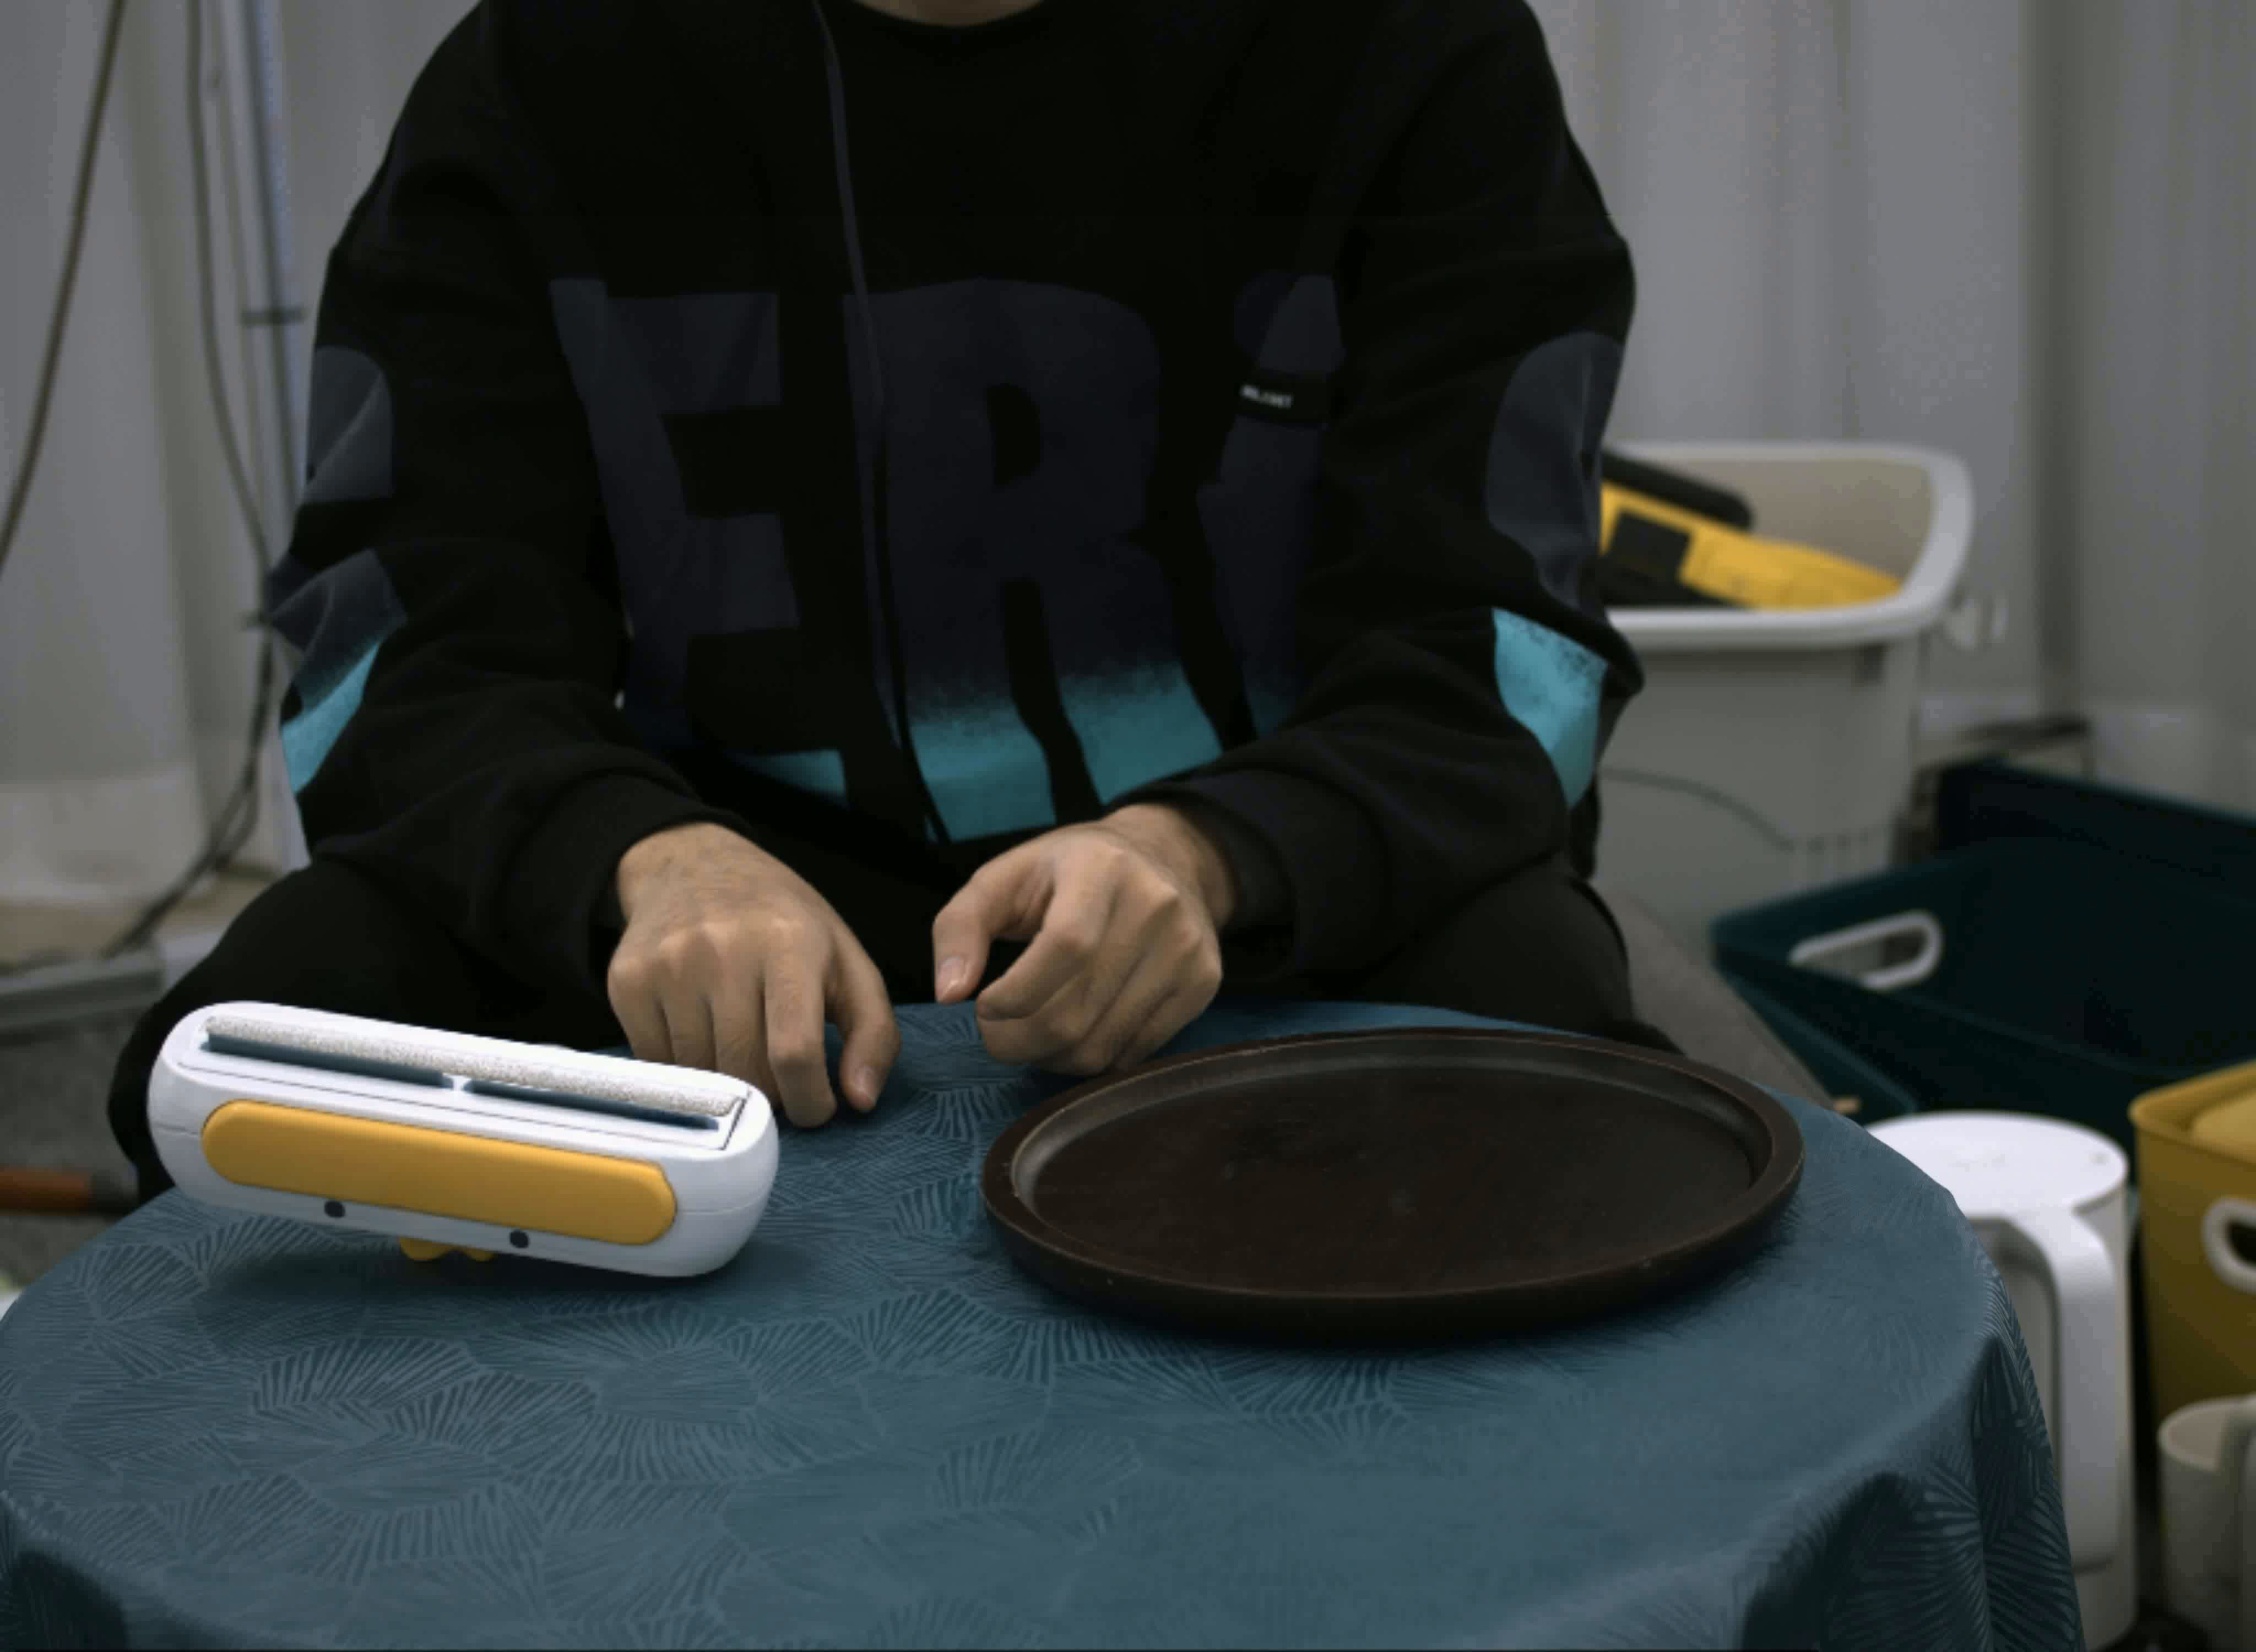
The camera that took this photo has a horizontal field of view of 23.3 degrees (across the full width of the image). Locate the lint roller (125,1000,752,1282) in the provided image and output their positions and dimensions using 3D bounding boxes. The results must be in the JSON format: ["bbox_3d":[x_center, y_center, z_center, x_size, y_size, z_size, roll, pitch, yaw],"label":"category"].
[{"bbox_3d":[-0.200,0.088,1.726,0.192,0.074,0.193,5,14,10],"label":"lint roller"}]

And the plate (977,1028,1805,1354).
[{"bbox_3d":[0.080,0.110,1.673,0.254,0.029,0.256,-4,14,1],"label":"plate"}]
